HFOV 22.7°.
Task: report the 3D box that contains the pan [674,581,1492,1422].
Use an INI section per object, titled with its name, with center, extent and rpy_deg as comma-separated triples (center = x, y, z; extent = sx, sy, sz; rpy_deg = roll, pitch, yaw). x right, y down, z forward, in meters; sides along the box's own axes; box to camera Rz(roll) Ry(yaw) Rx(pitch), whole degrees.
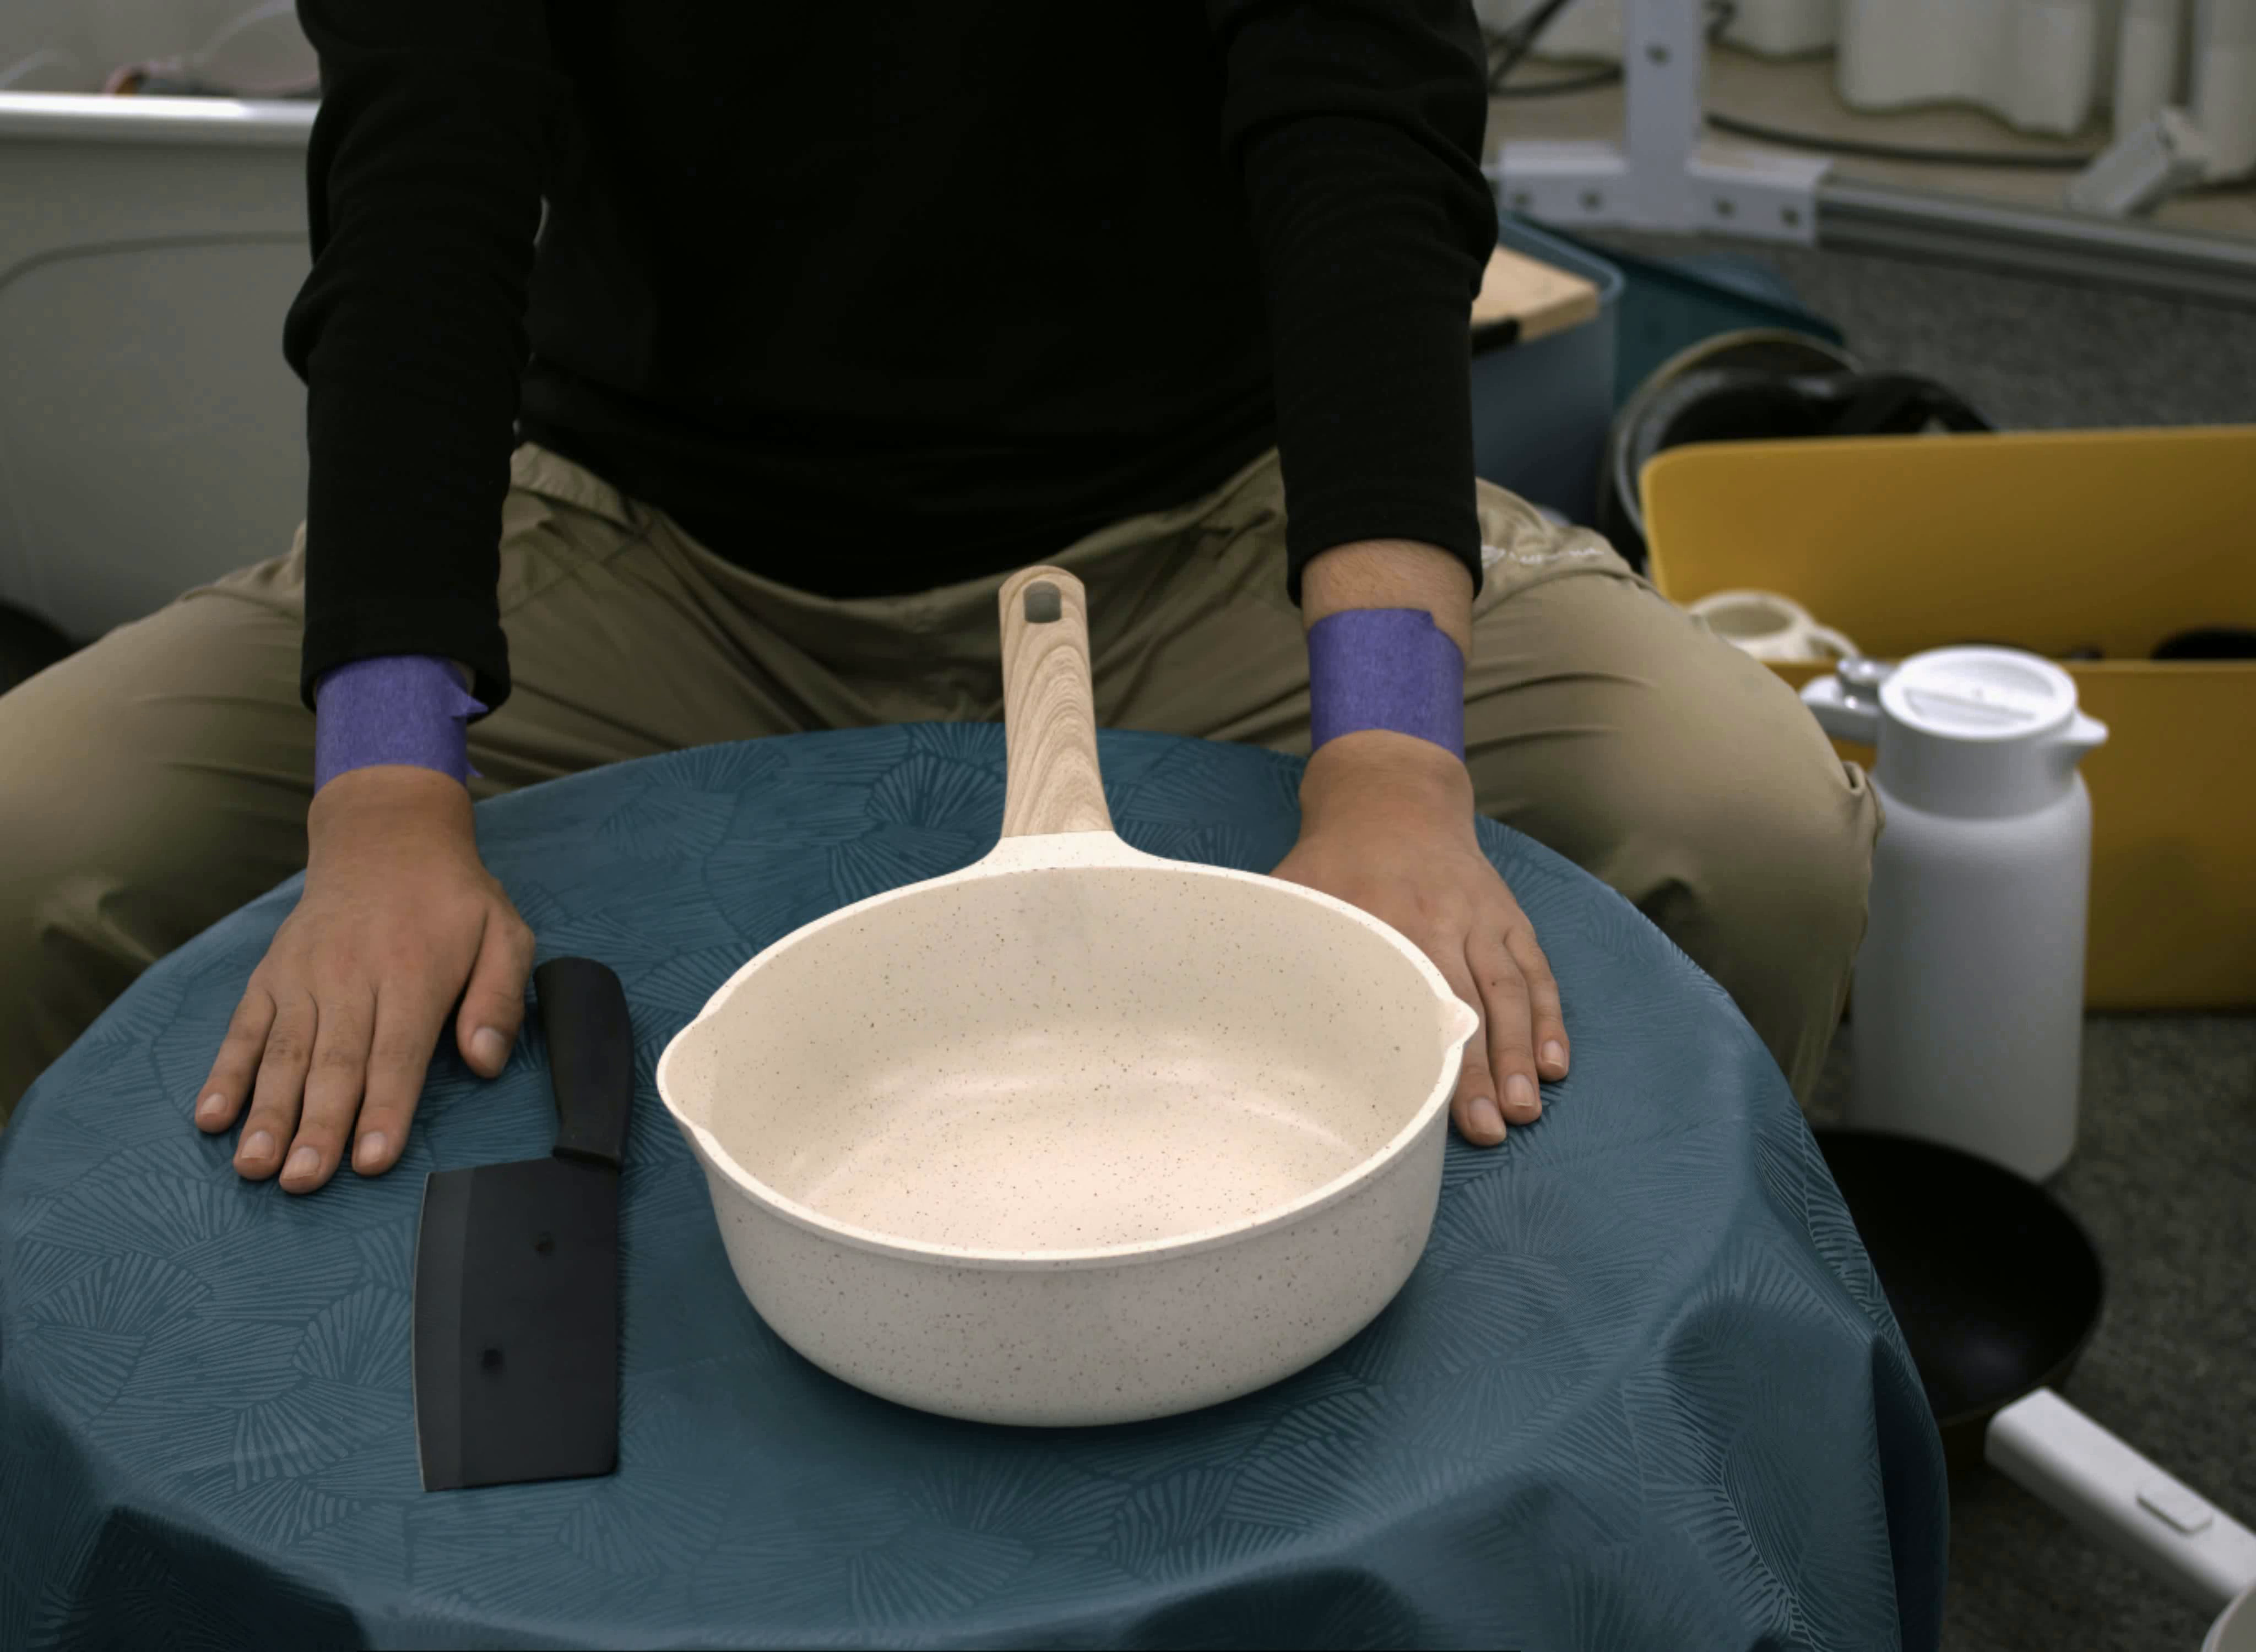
[pan]
center = -0.017, 0.055, 1.884
extent = 0.262, 0.101, 0.441
rpy_deg = -5, 27, -1

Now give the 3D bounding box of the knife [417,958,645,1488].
[knife]
center = -0.195, 0.128, 1.851
extent = 0.080, 0.020, 0.307
rpy_deg = -3, 29, 2
